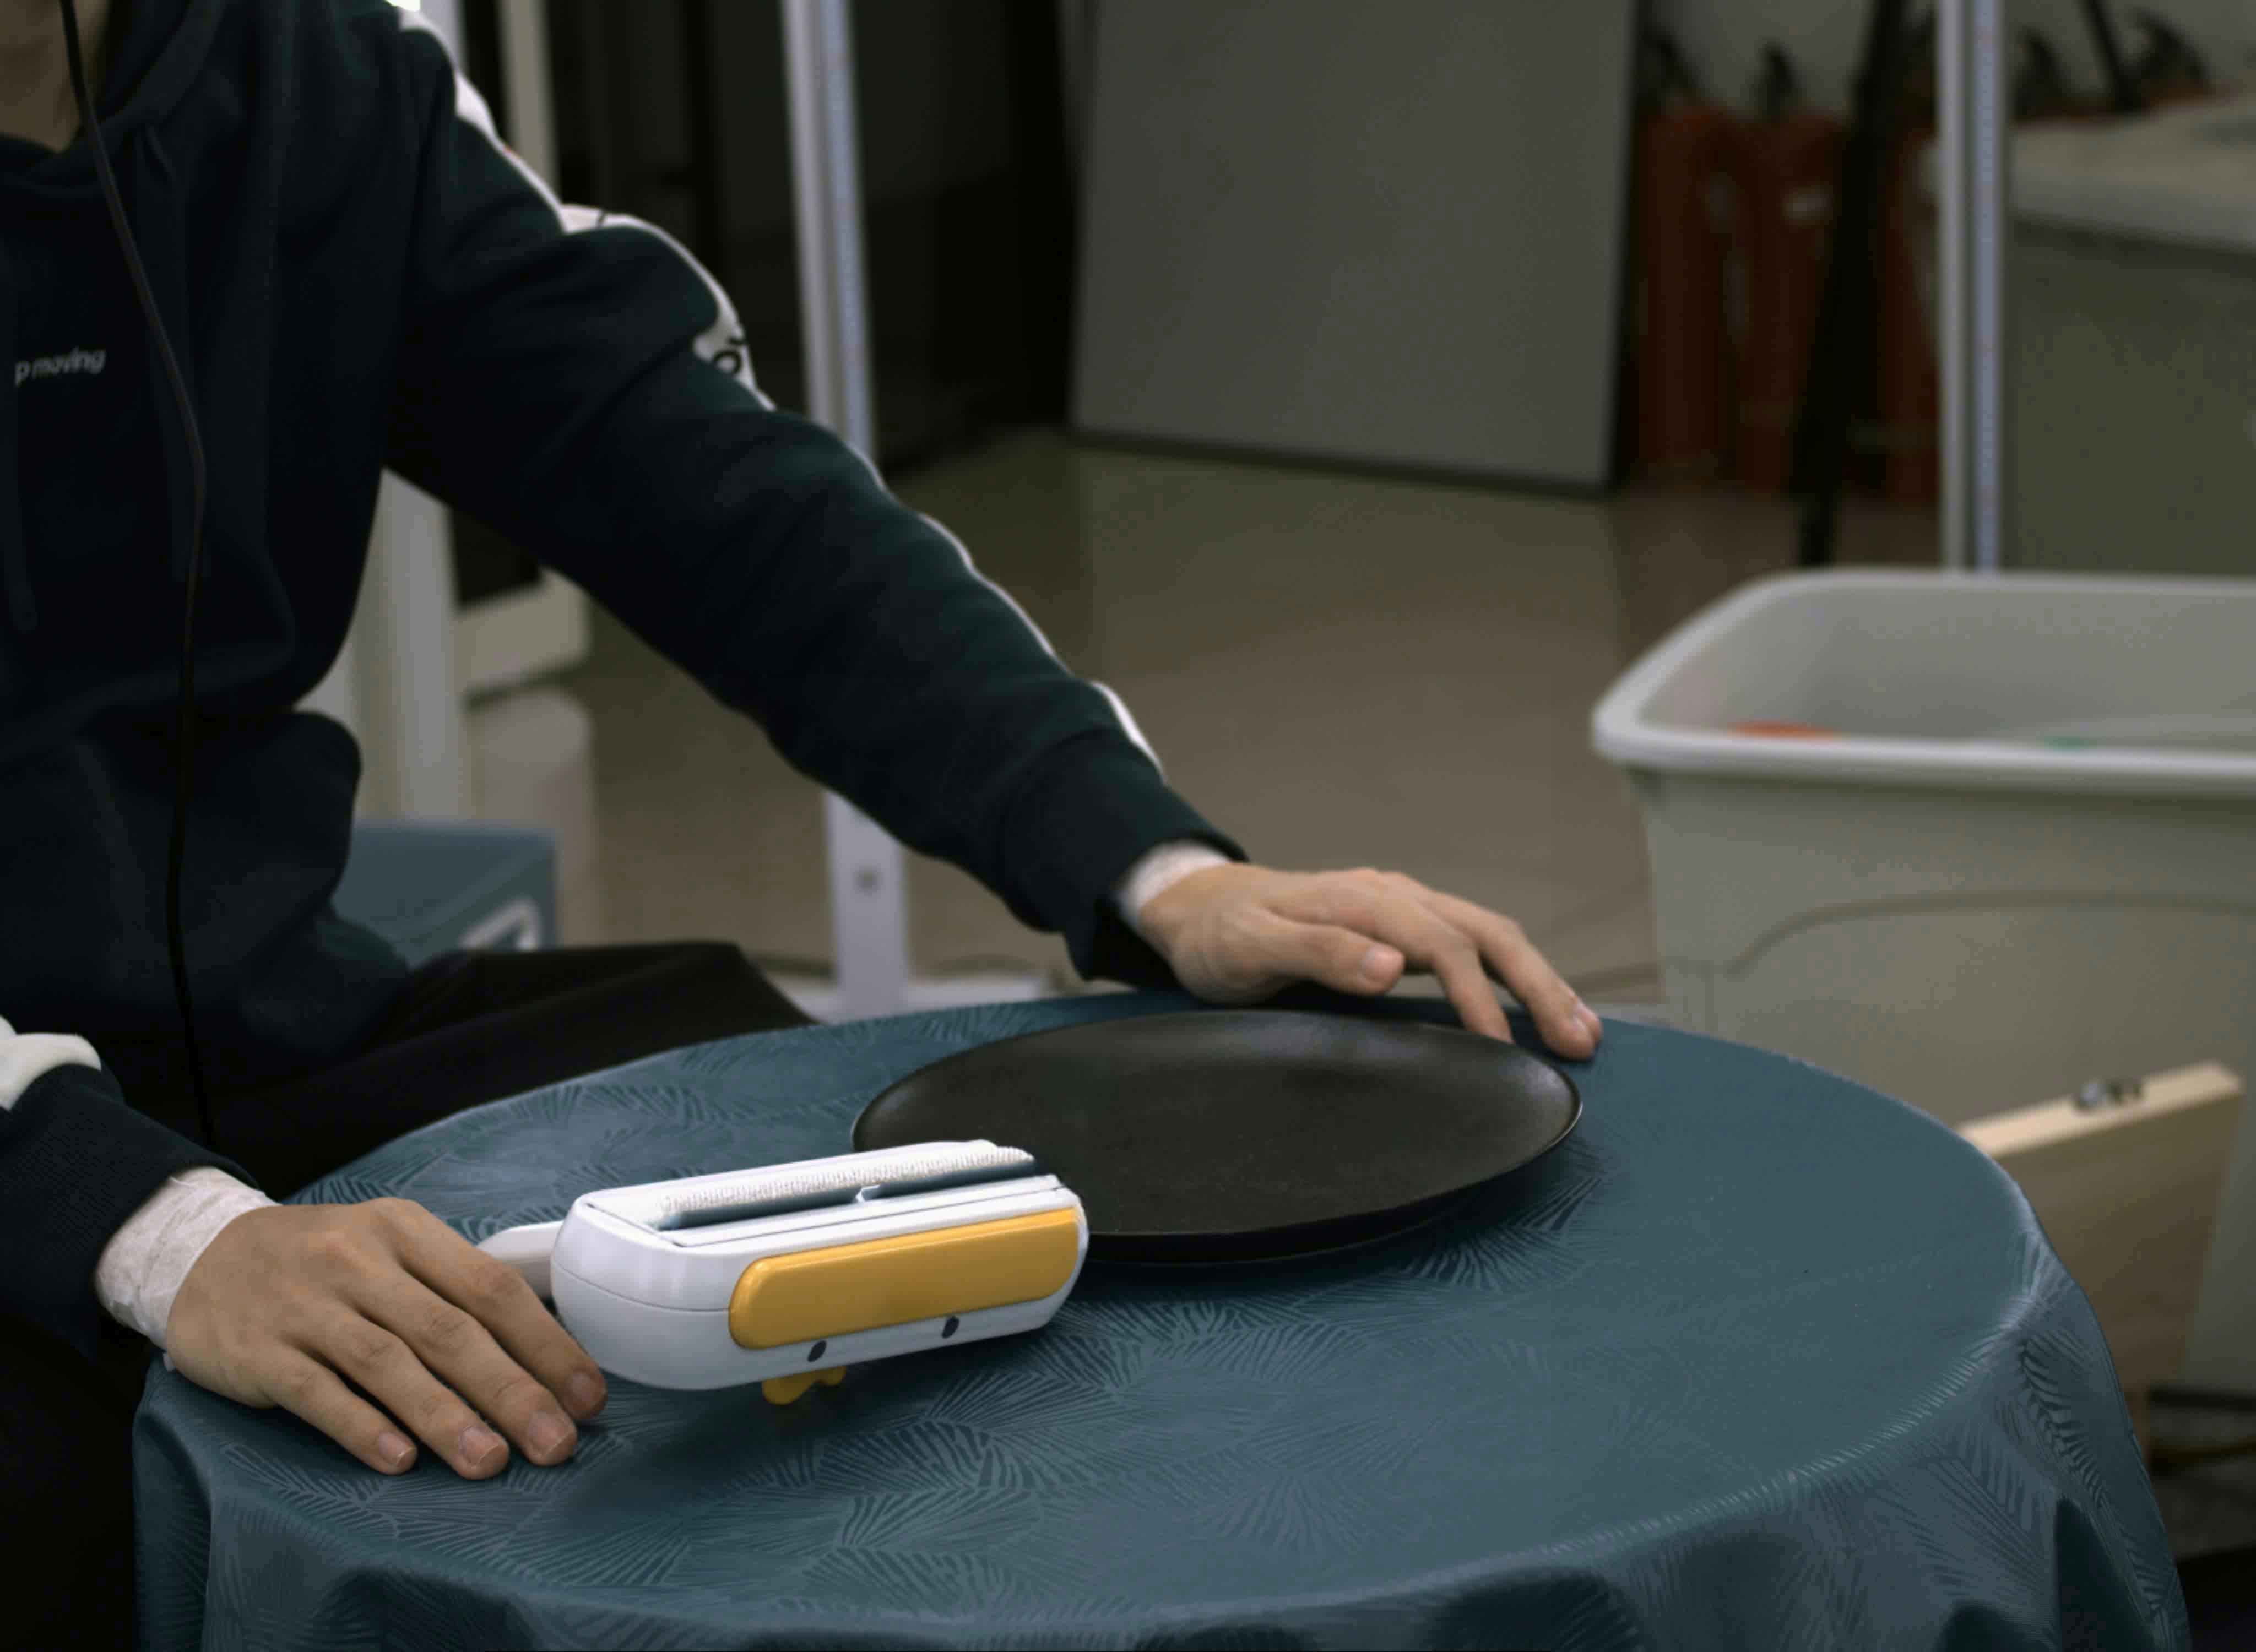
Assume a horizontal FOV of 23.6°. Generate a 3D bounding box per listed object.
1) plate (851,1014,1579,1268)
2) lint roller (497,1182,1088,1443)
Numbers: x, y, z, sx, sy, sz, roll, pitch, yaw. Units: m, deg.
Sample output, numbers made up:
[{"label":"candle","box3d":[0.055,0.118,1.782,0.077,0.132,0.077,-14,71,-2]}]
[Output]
[{"label":"plate","box3d":[0.029,0.106,1.777,0.241,0.024,0.245,-4,14,0]},{"label":"lint roller","box3d":[-0.130,0.149,1.634,0.188,0.075,0.194,-7,-3,-41]}]
